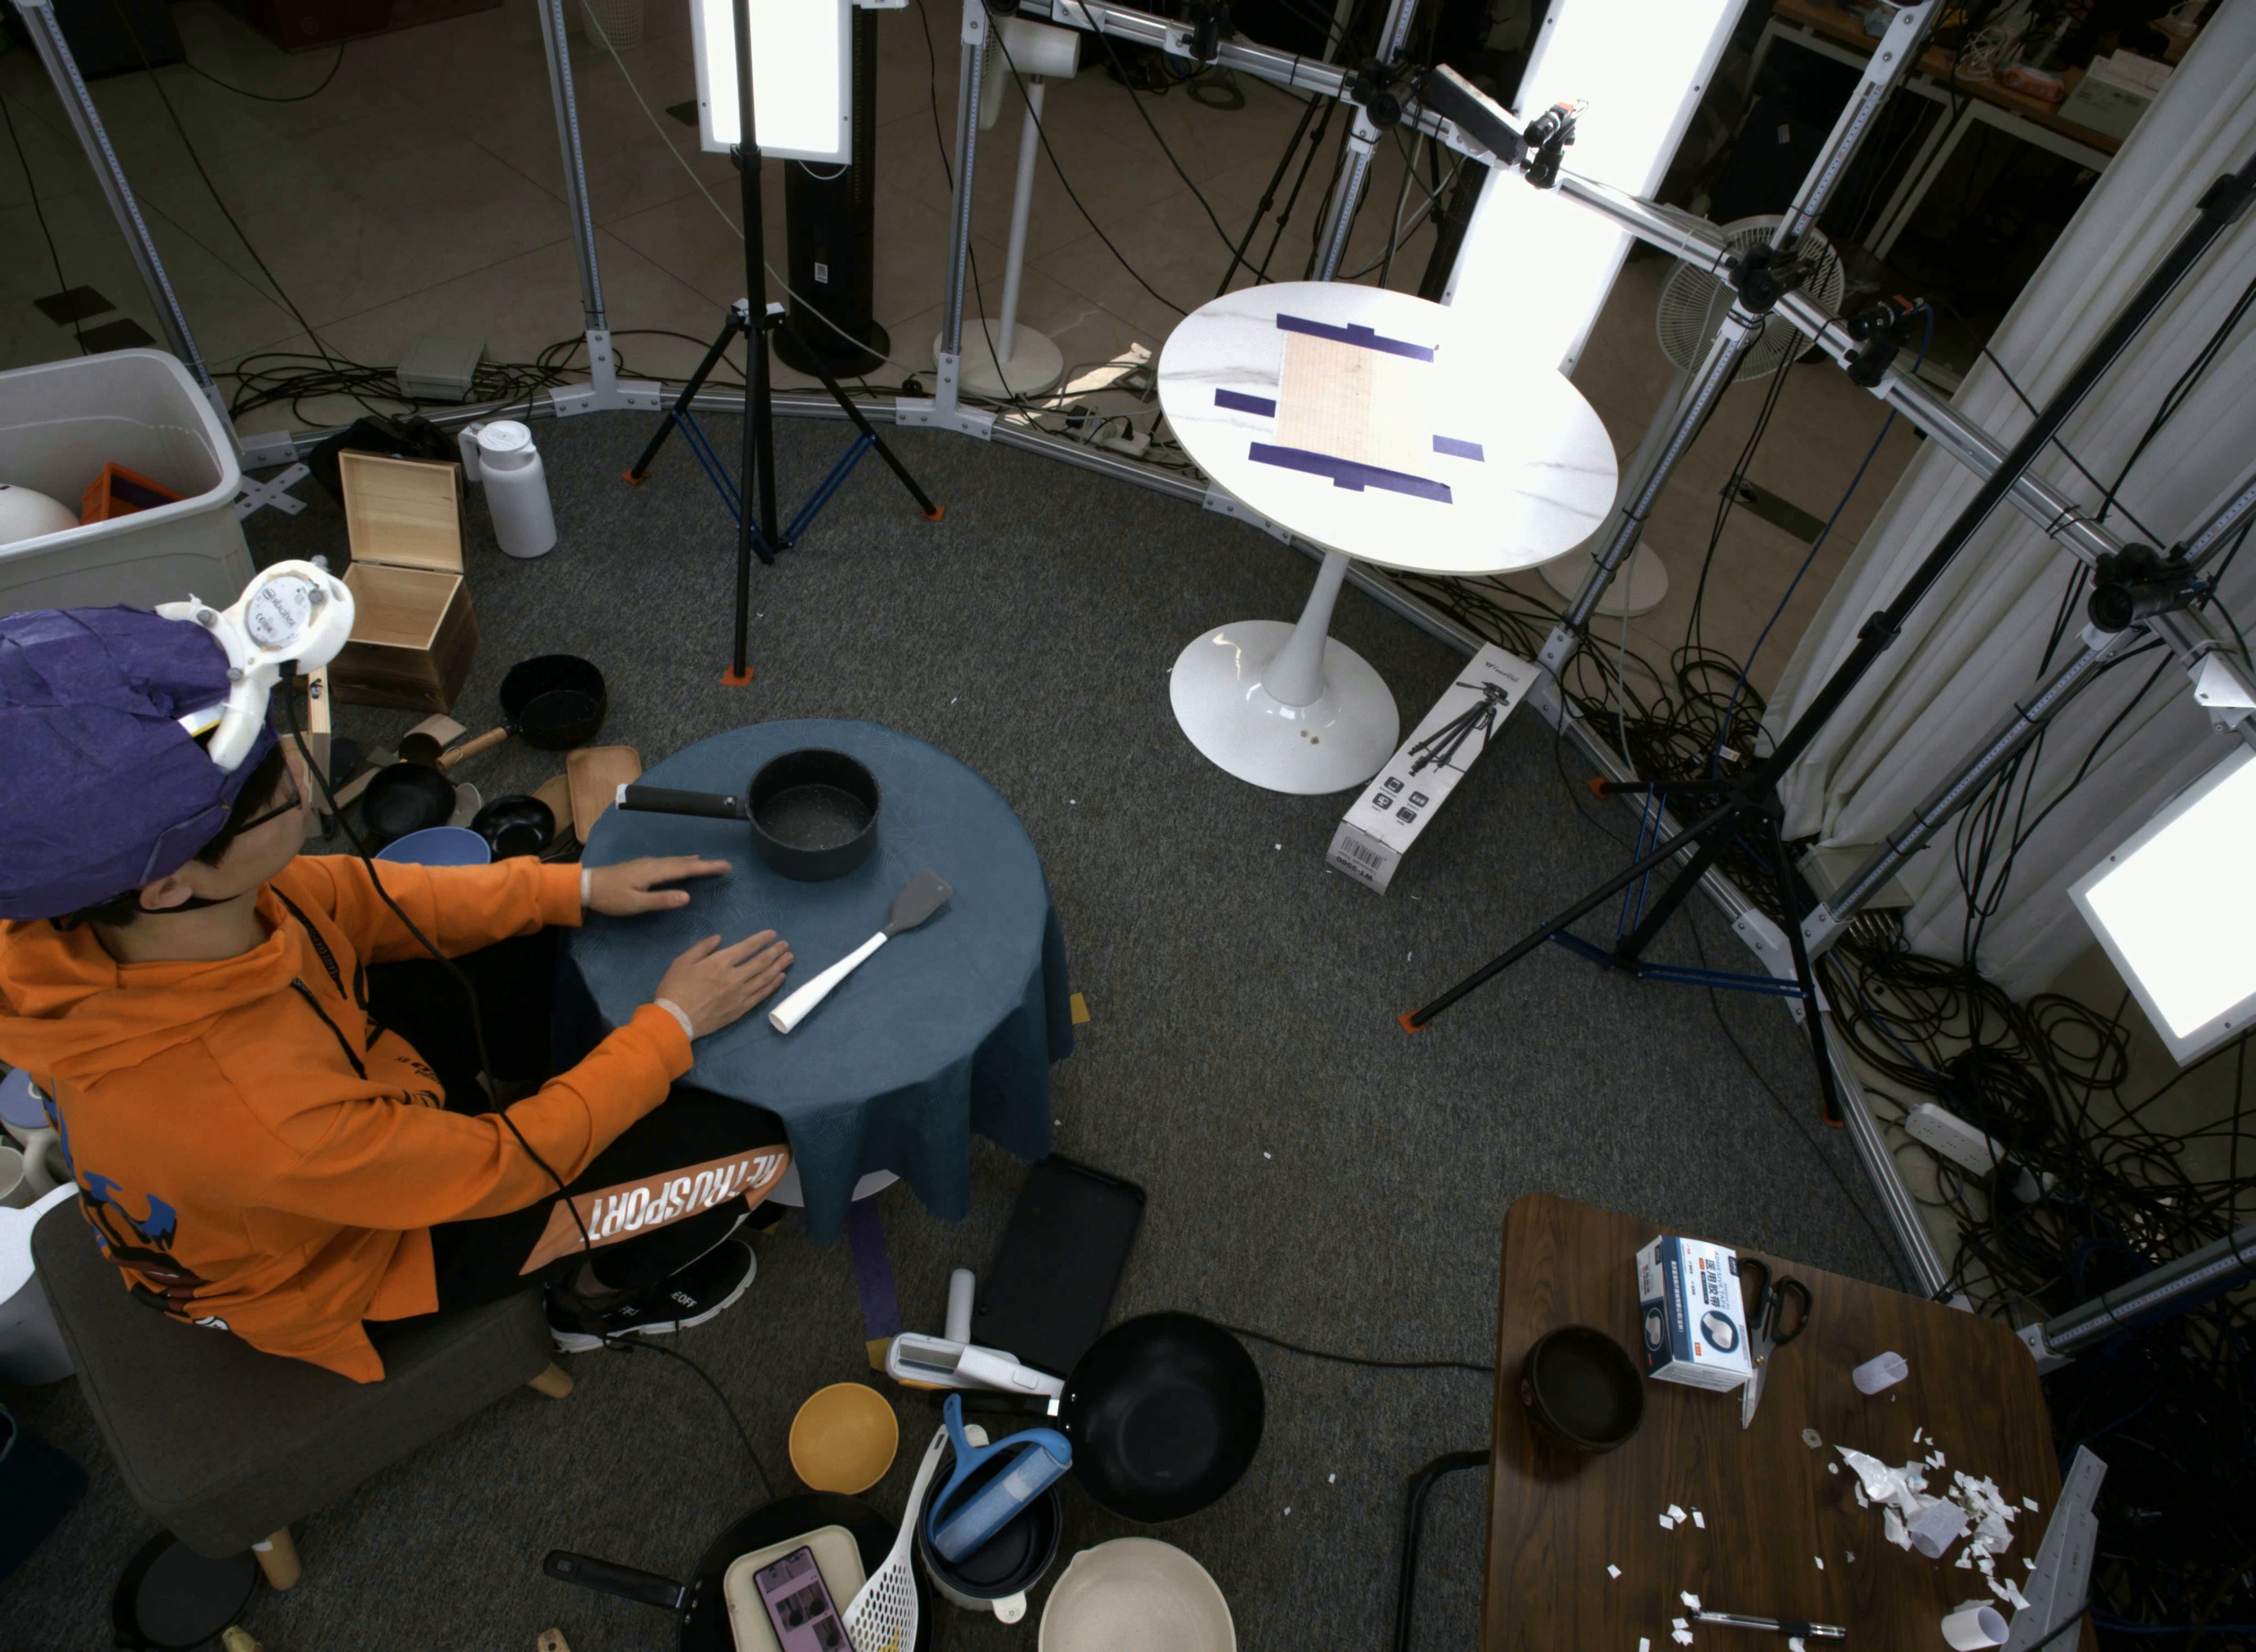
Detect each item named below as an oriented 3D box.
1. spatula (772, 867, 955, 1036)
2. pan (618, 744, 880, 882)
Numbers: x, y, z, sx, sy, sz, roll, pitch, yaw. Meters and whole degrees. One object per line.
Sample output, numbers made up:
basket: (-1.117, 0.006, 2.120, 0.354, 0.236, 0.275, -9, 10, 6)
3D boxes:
spatula: (-0.325, 0.151, 1.607, 0.057, 0.033, 0.287, 33, 53, 18)
pan: (-0.485, -0.020, 1.658, 0.330, 0.088, 0.168, 3, 52, -15)
